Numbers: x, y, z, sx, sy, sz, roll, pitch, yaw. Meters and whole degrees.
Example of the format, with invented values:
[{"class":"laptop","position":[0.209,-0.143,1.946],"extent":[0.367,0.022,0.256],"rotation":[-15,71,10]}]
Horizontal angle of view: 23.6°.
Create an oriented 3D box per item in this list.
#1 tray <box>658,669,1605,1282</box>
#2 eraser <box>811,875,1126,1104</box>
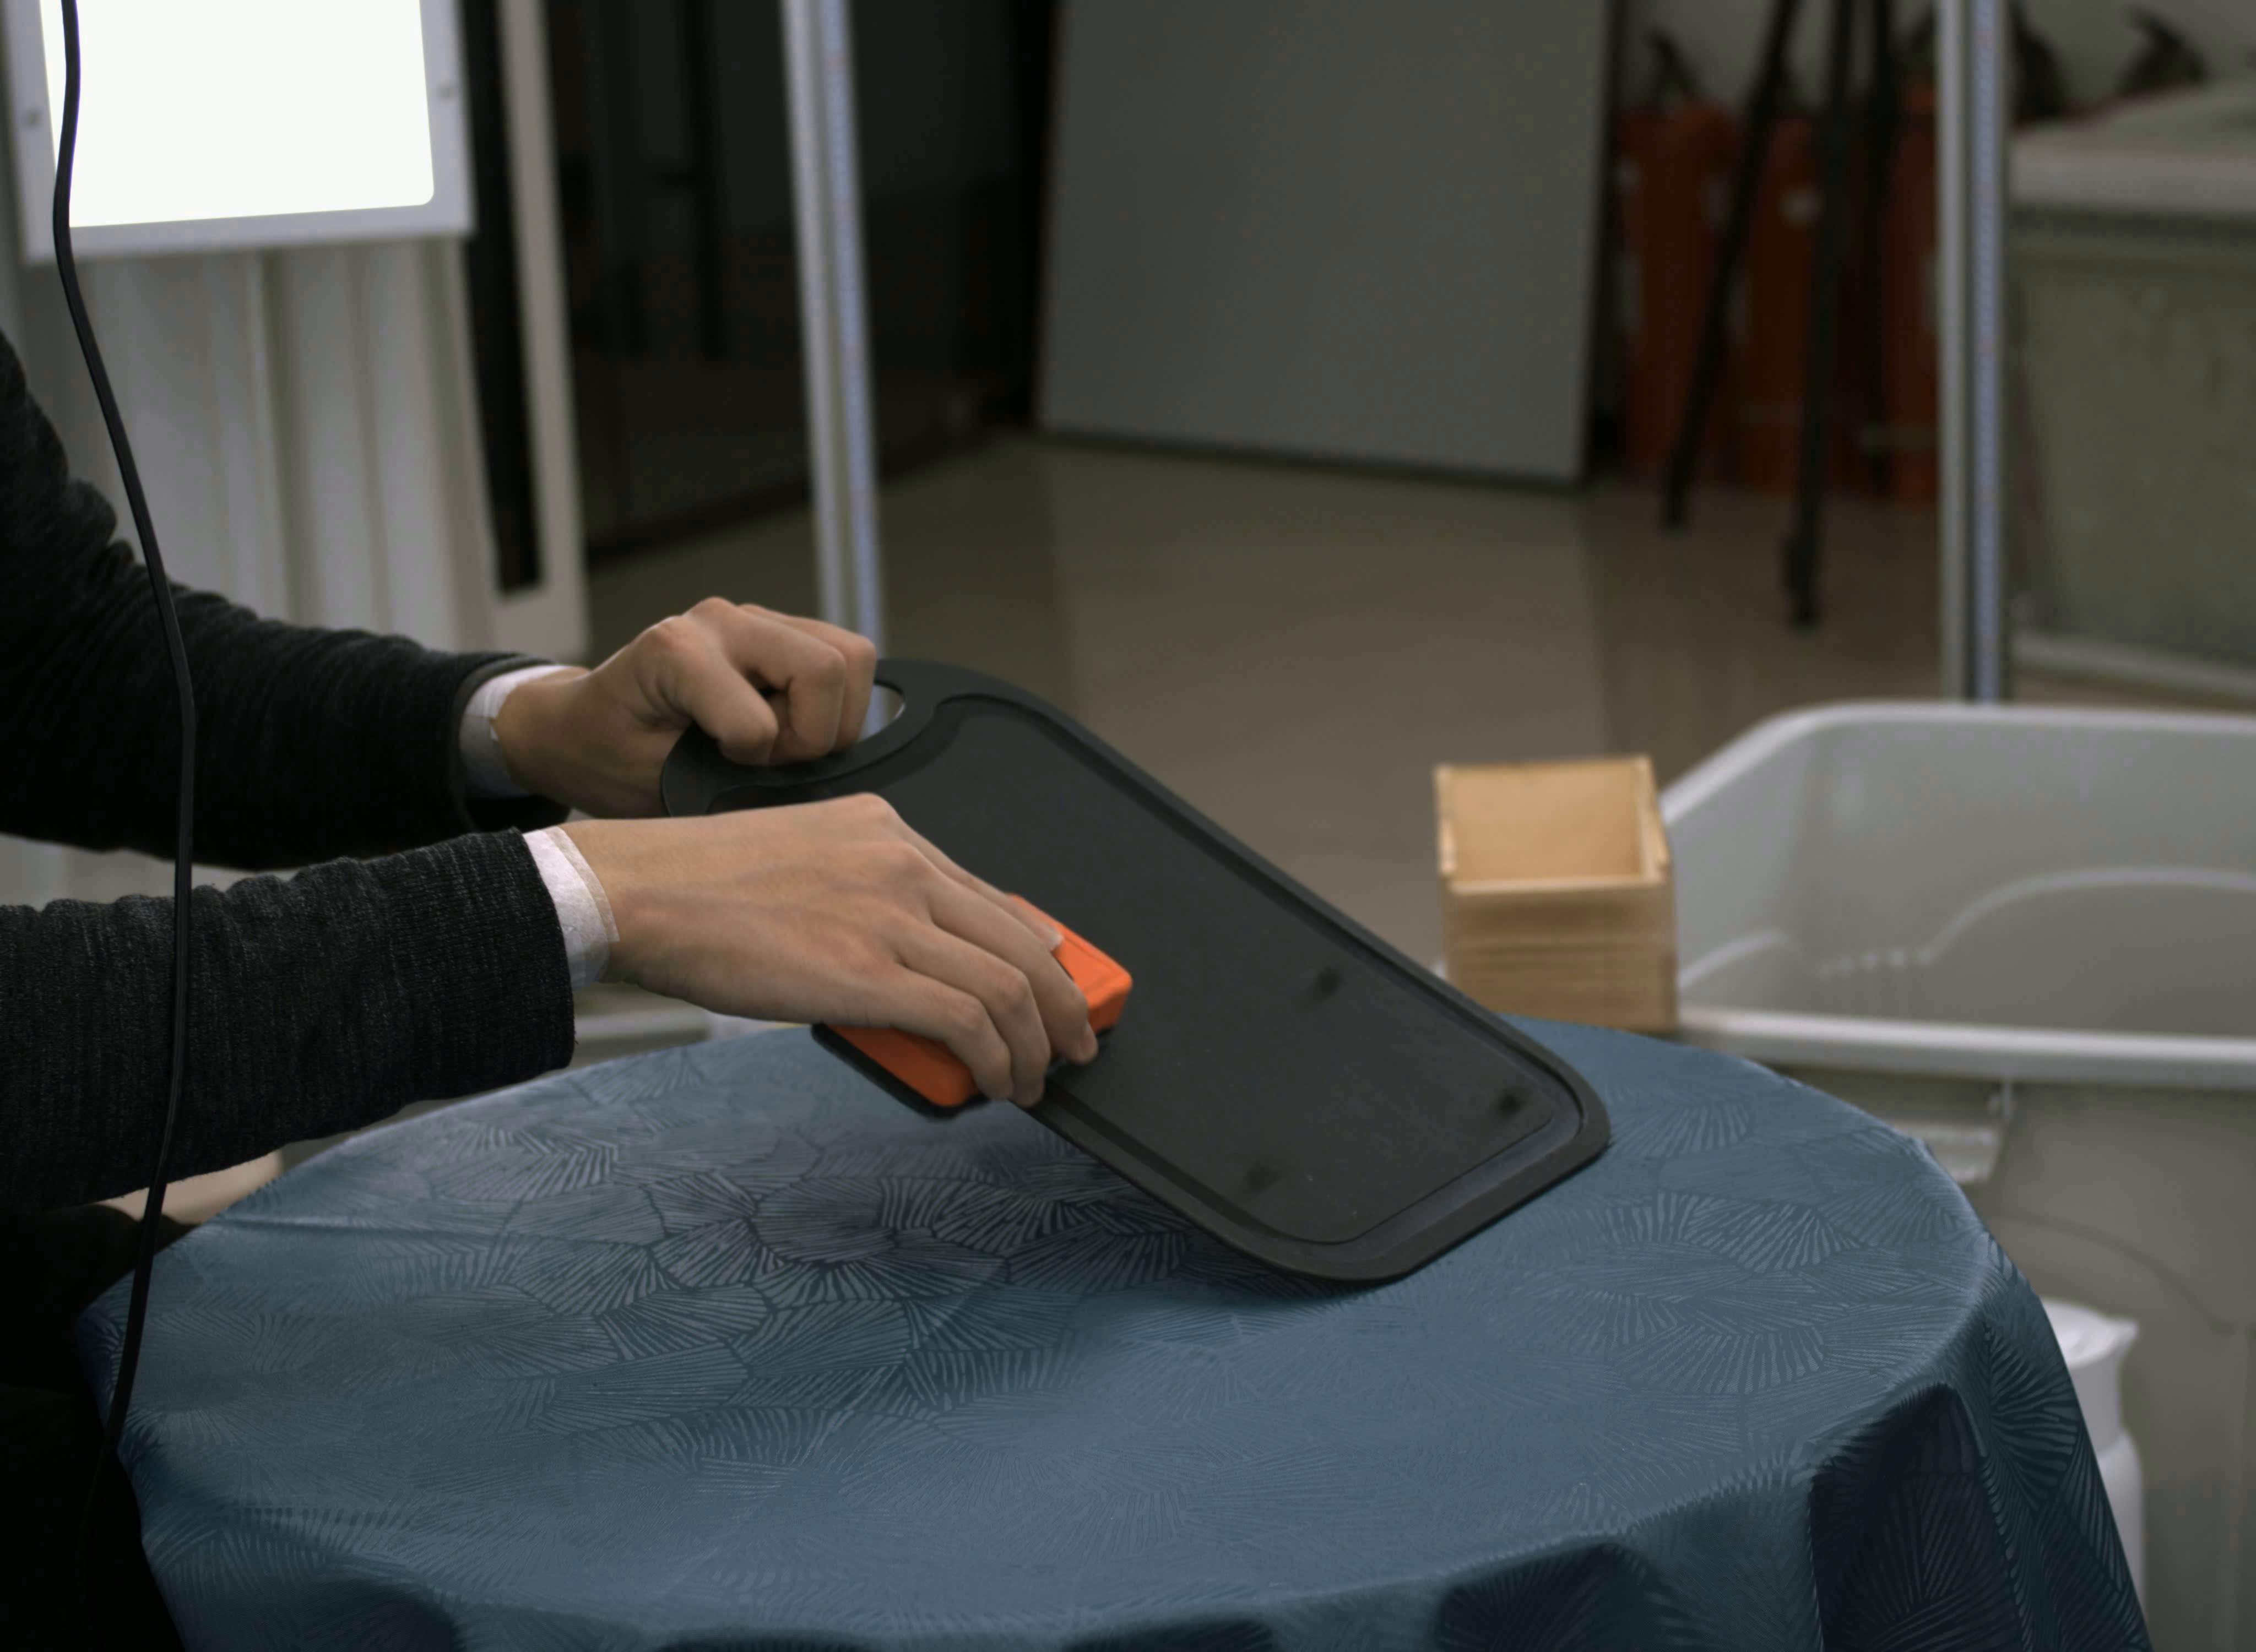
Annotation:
[{"class":"tray","position":[-0.004,0.039,1.780],"extent":[0.327,0.010,0.207],"rotation":[35,31,23]},{"class":"eraser","position":[-0.049,0.051,1.706],"extent":[0.059,0.023,0.106],"rotation":[28,30,23]}]
